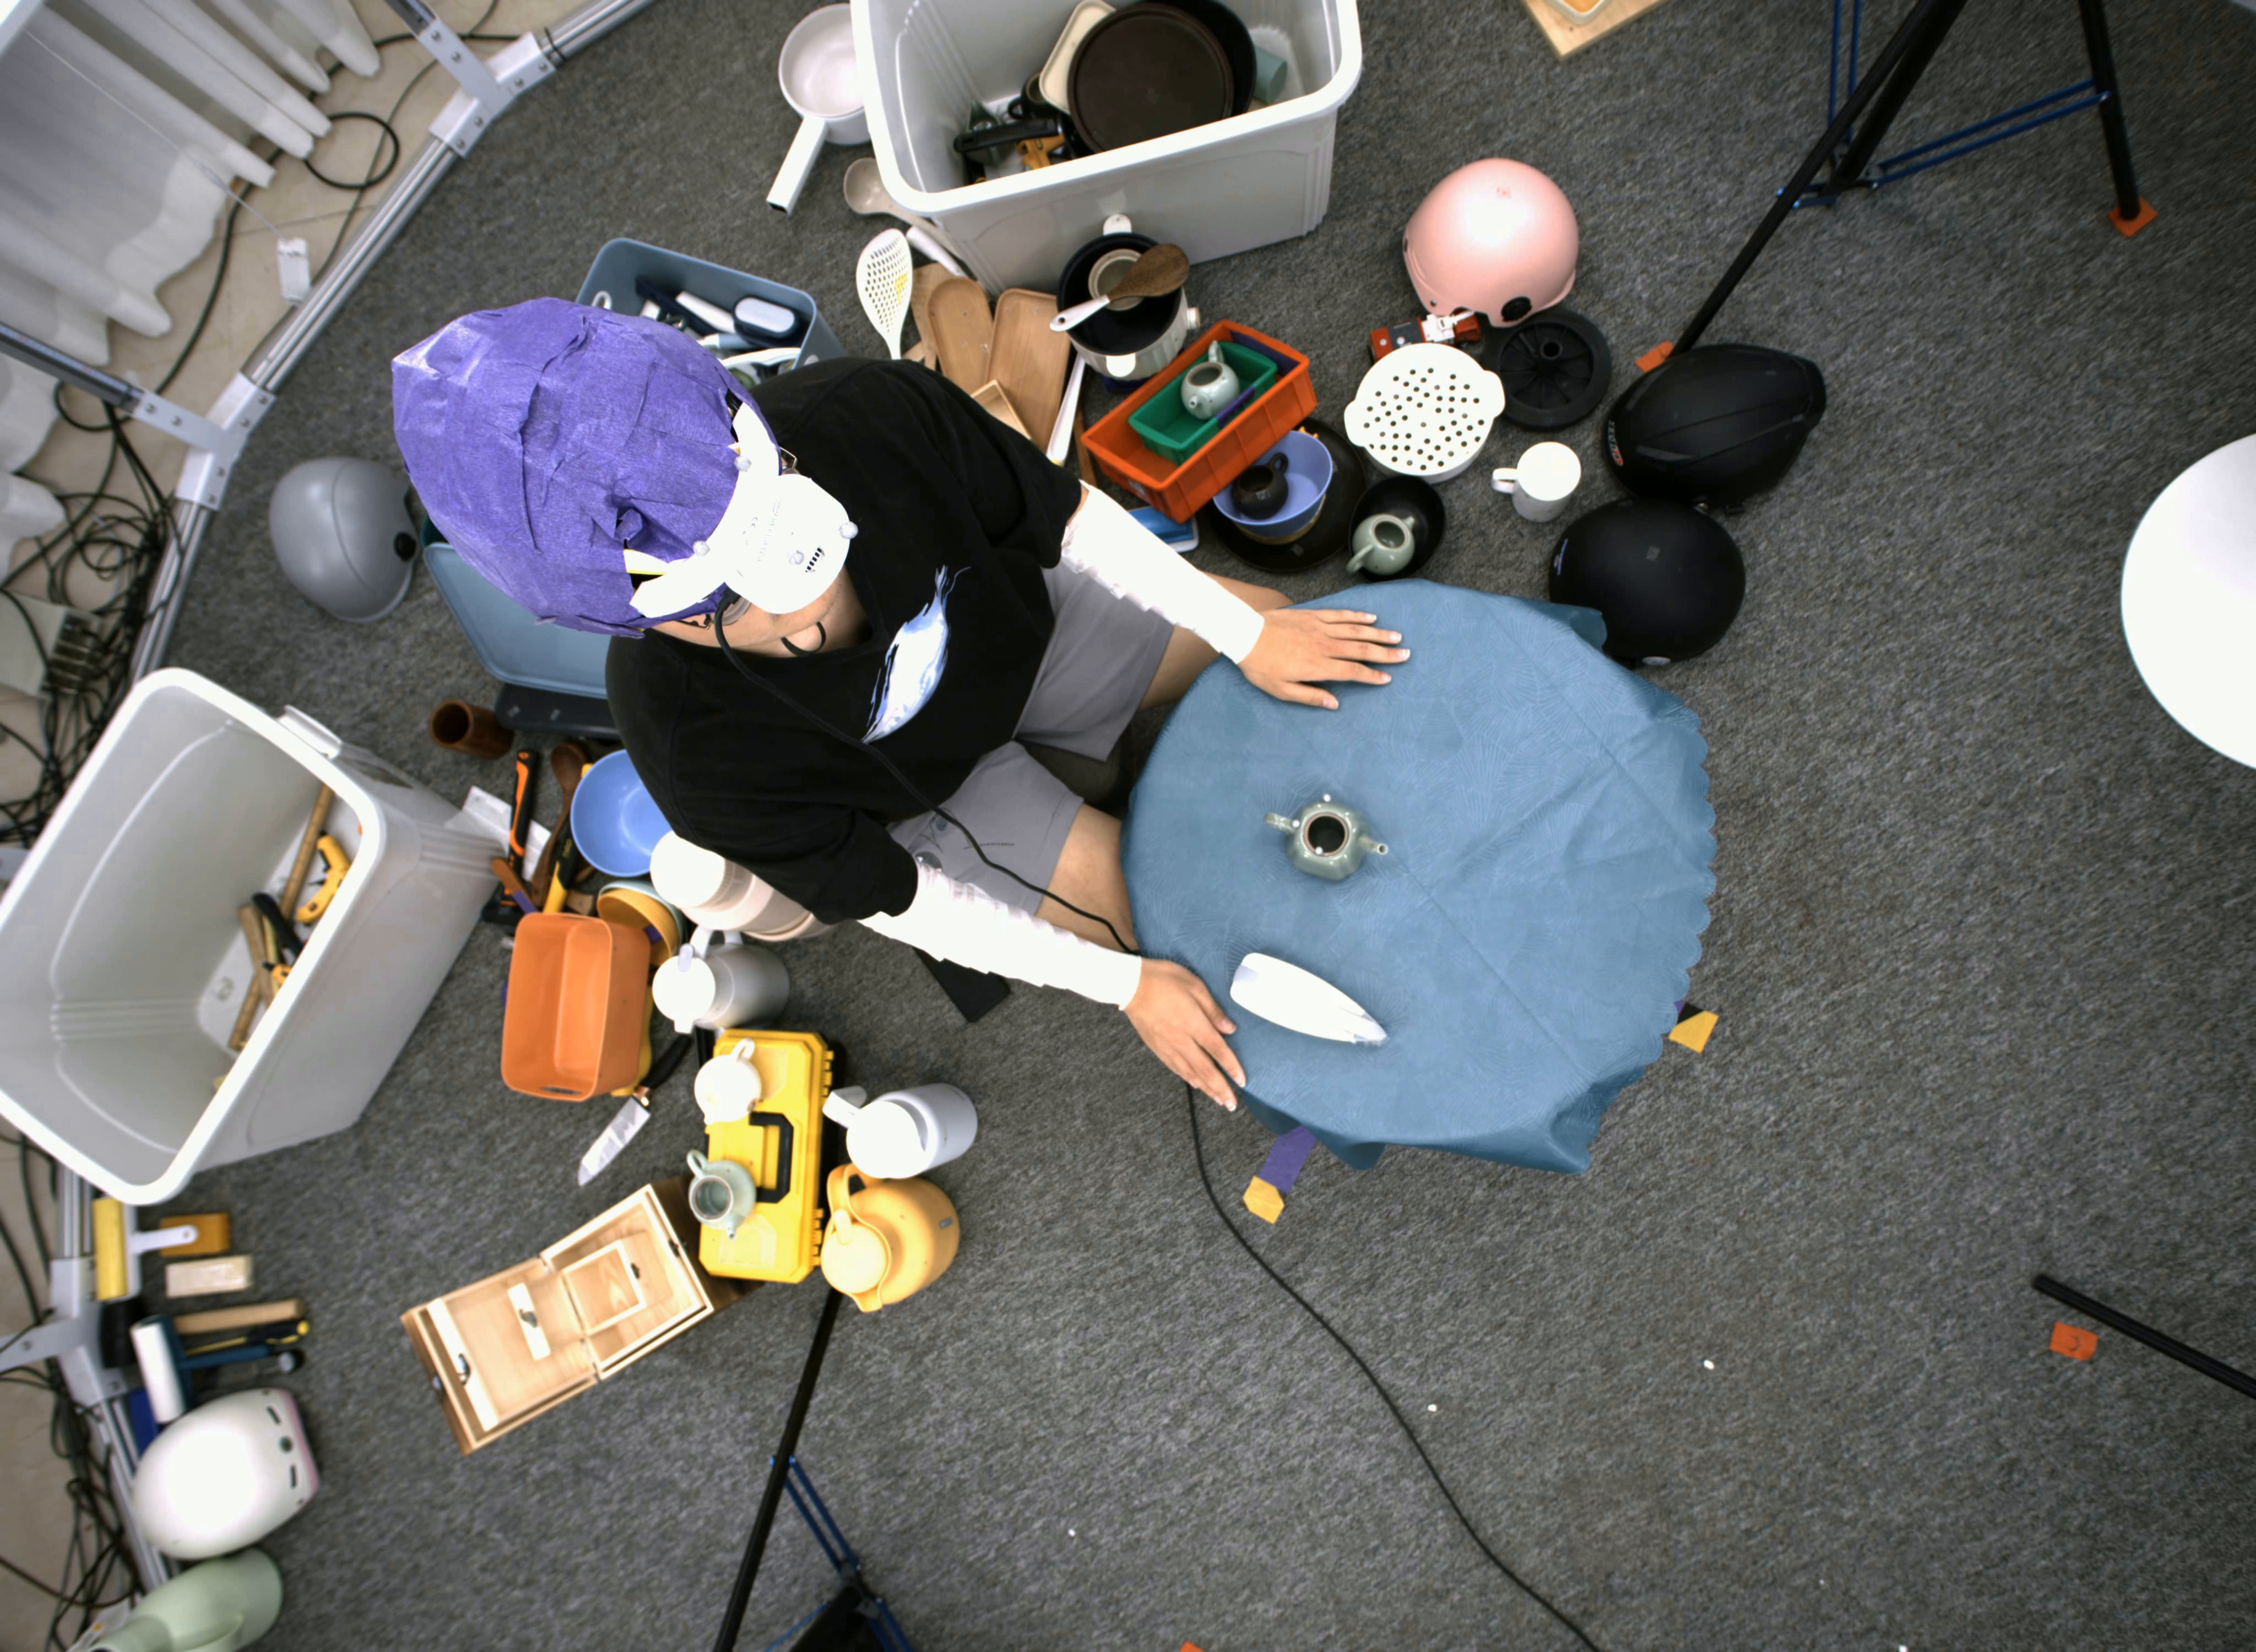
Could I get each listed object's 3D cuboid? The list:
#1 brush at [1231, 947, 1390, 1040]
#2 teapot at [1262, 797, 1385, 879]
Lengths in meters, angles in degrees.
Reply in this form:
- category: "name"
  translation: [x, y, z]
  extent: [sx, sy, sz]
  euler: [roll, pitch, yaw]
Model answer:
- category: "brush"
  translation: [0.188, 0.180, 1.422]
  extent: [0.175, 0.094, 0.061]
  euler: [23, 92, 10]
- category: "teapot"
  translation: [0.205, 0.009, 1.438]
  extent: [0.132, 0.075, 0.079]
  euler: [20, 87, 13]
